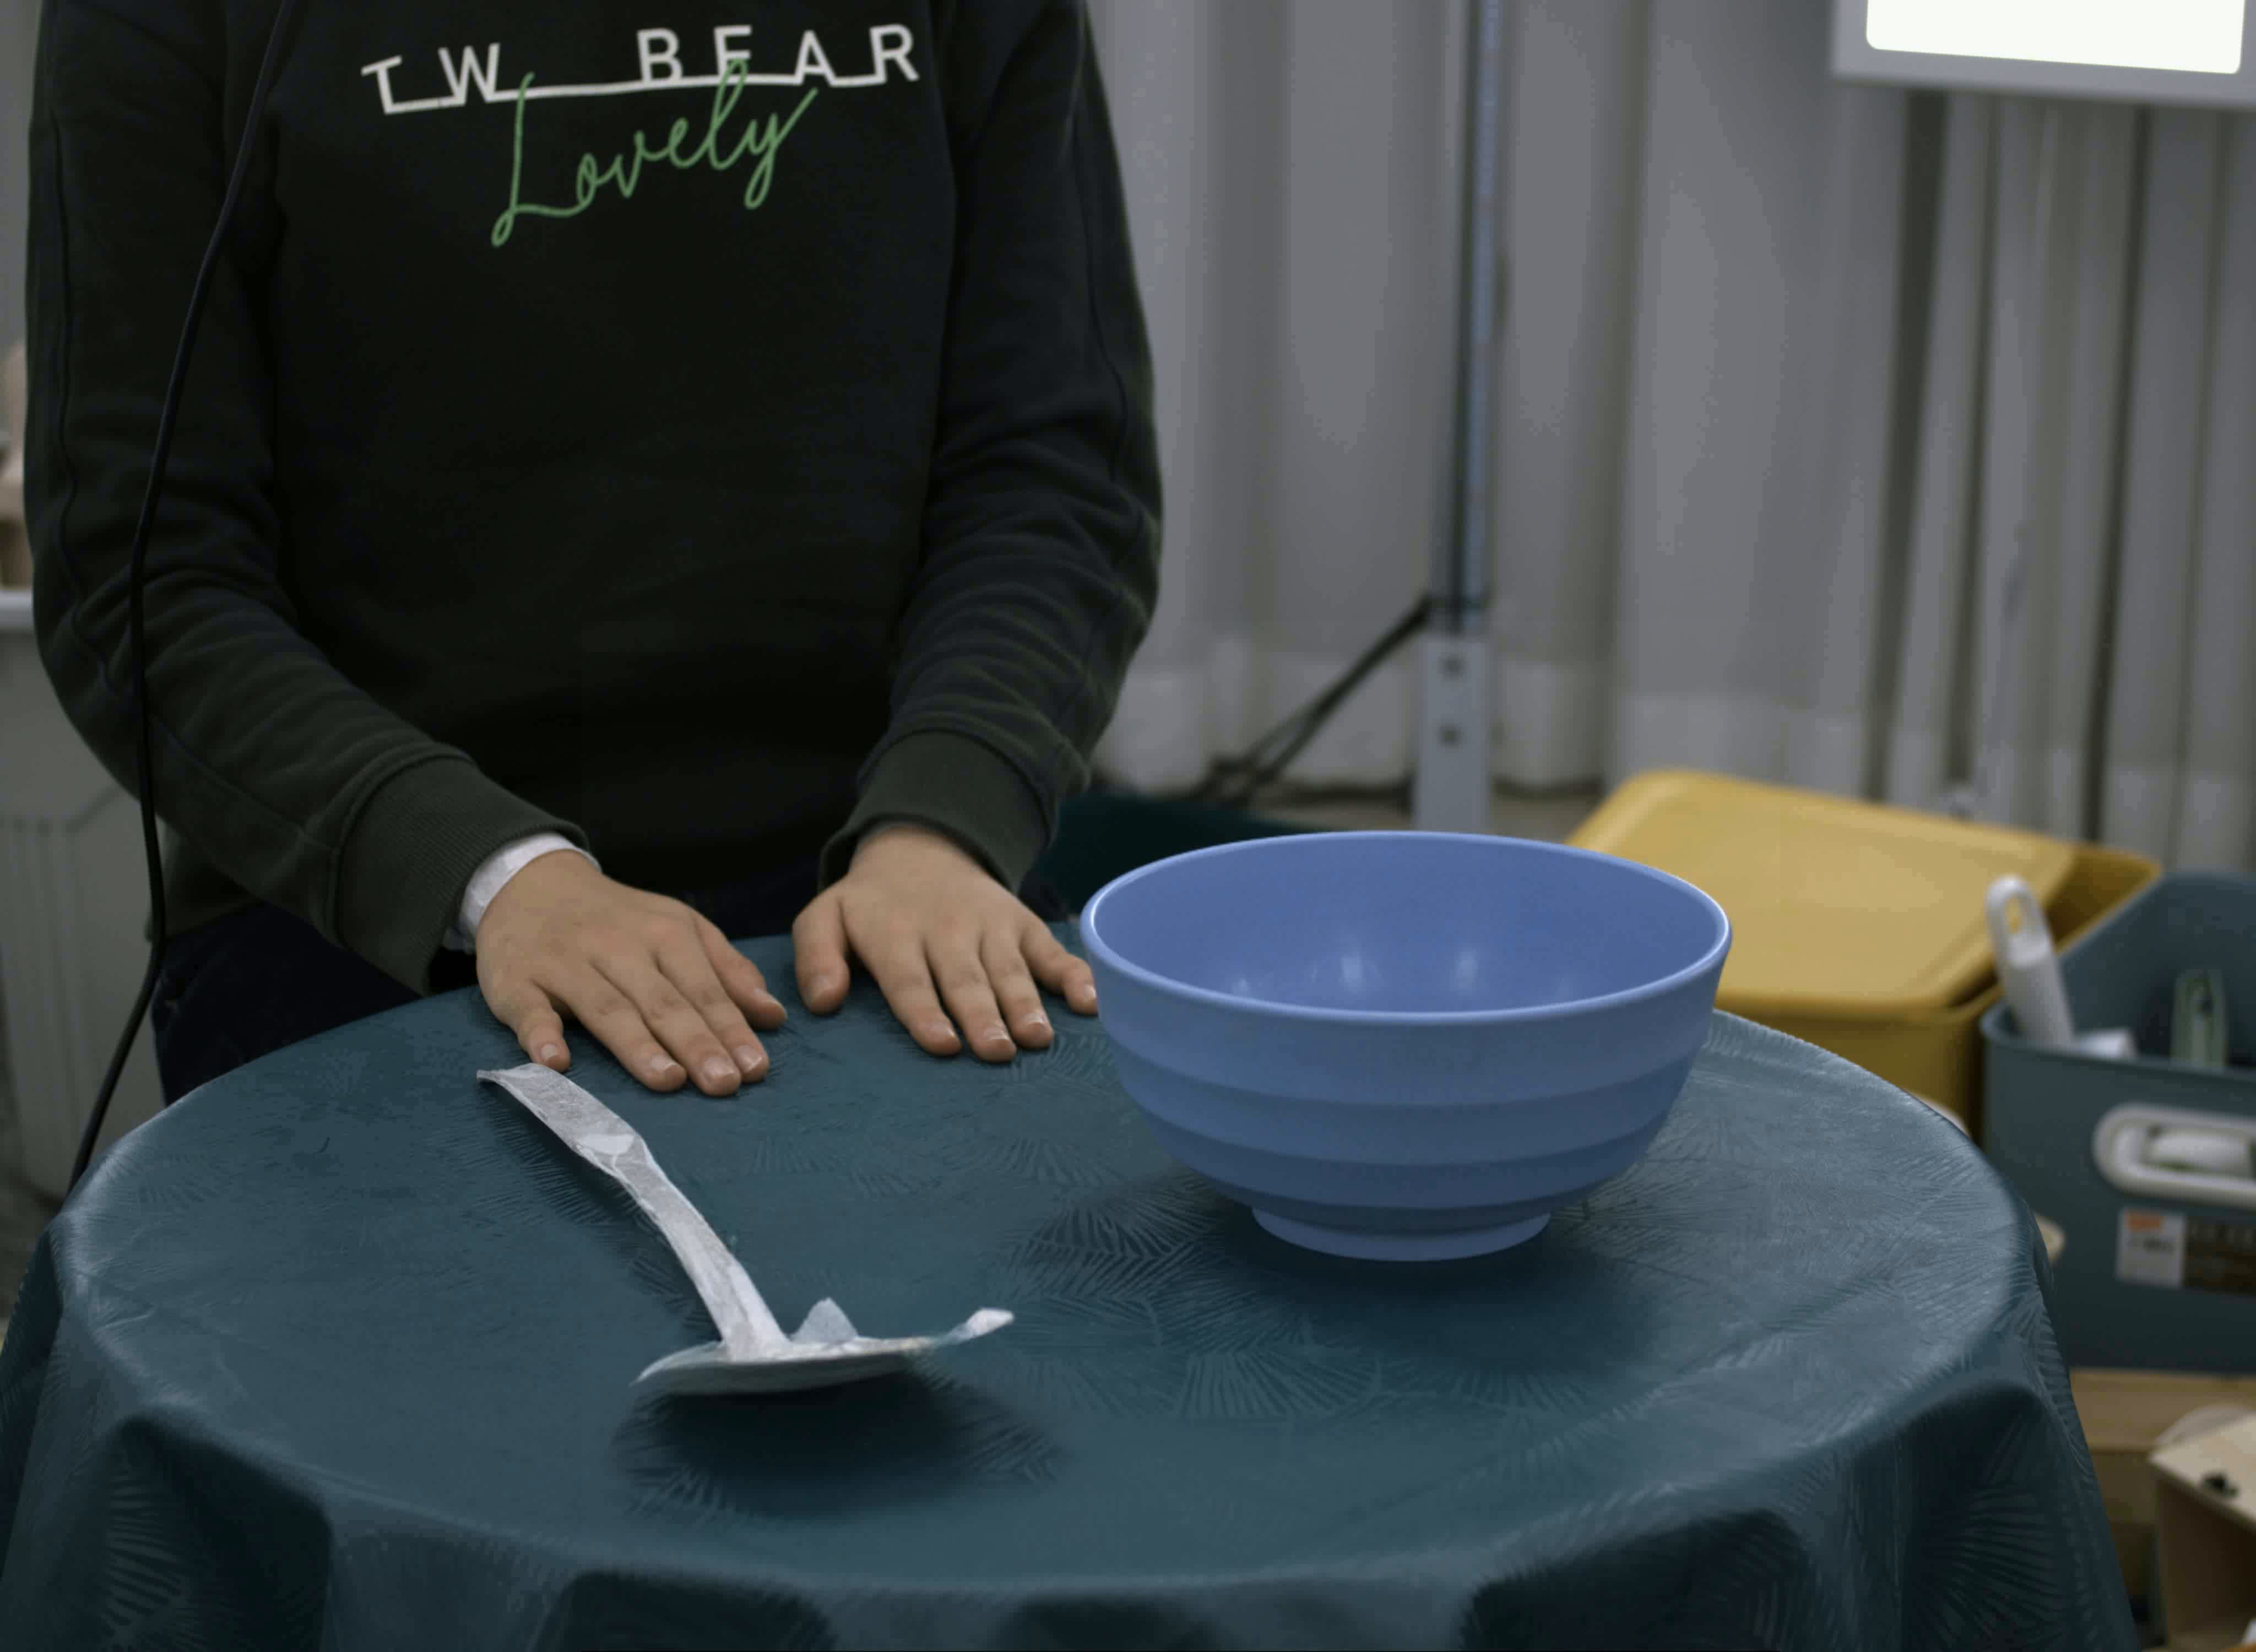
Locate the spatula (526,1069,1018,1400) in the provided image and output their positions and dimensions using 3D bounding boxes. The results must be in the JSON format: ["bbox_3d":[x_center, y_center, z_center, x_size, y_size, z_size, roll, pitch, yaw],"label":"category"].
[{"bbox_3d":[-0.131,0.111,1.555,0.099,0.045,0.361,-7,18,-19],"label":"spatula"}]

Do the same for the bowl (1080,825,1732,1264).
[{"bbox_3d":[0.084,0.072,1.597,0.196,0.096,0.195,0,18,1],"label":"bowl"}]
